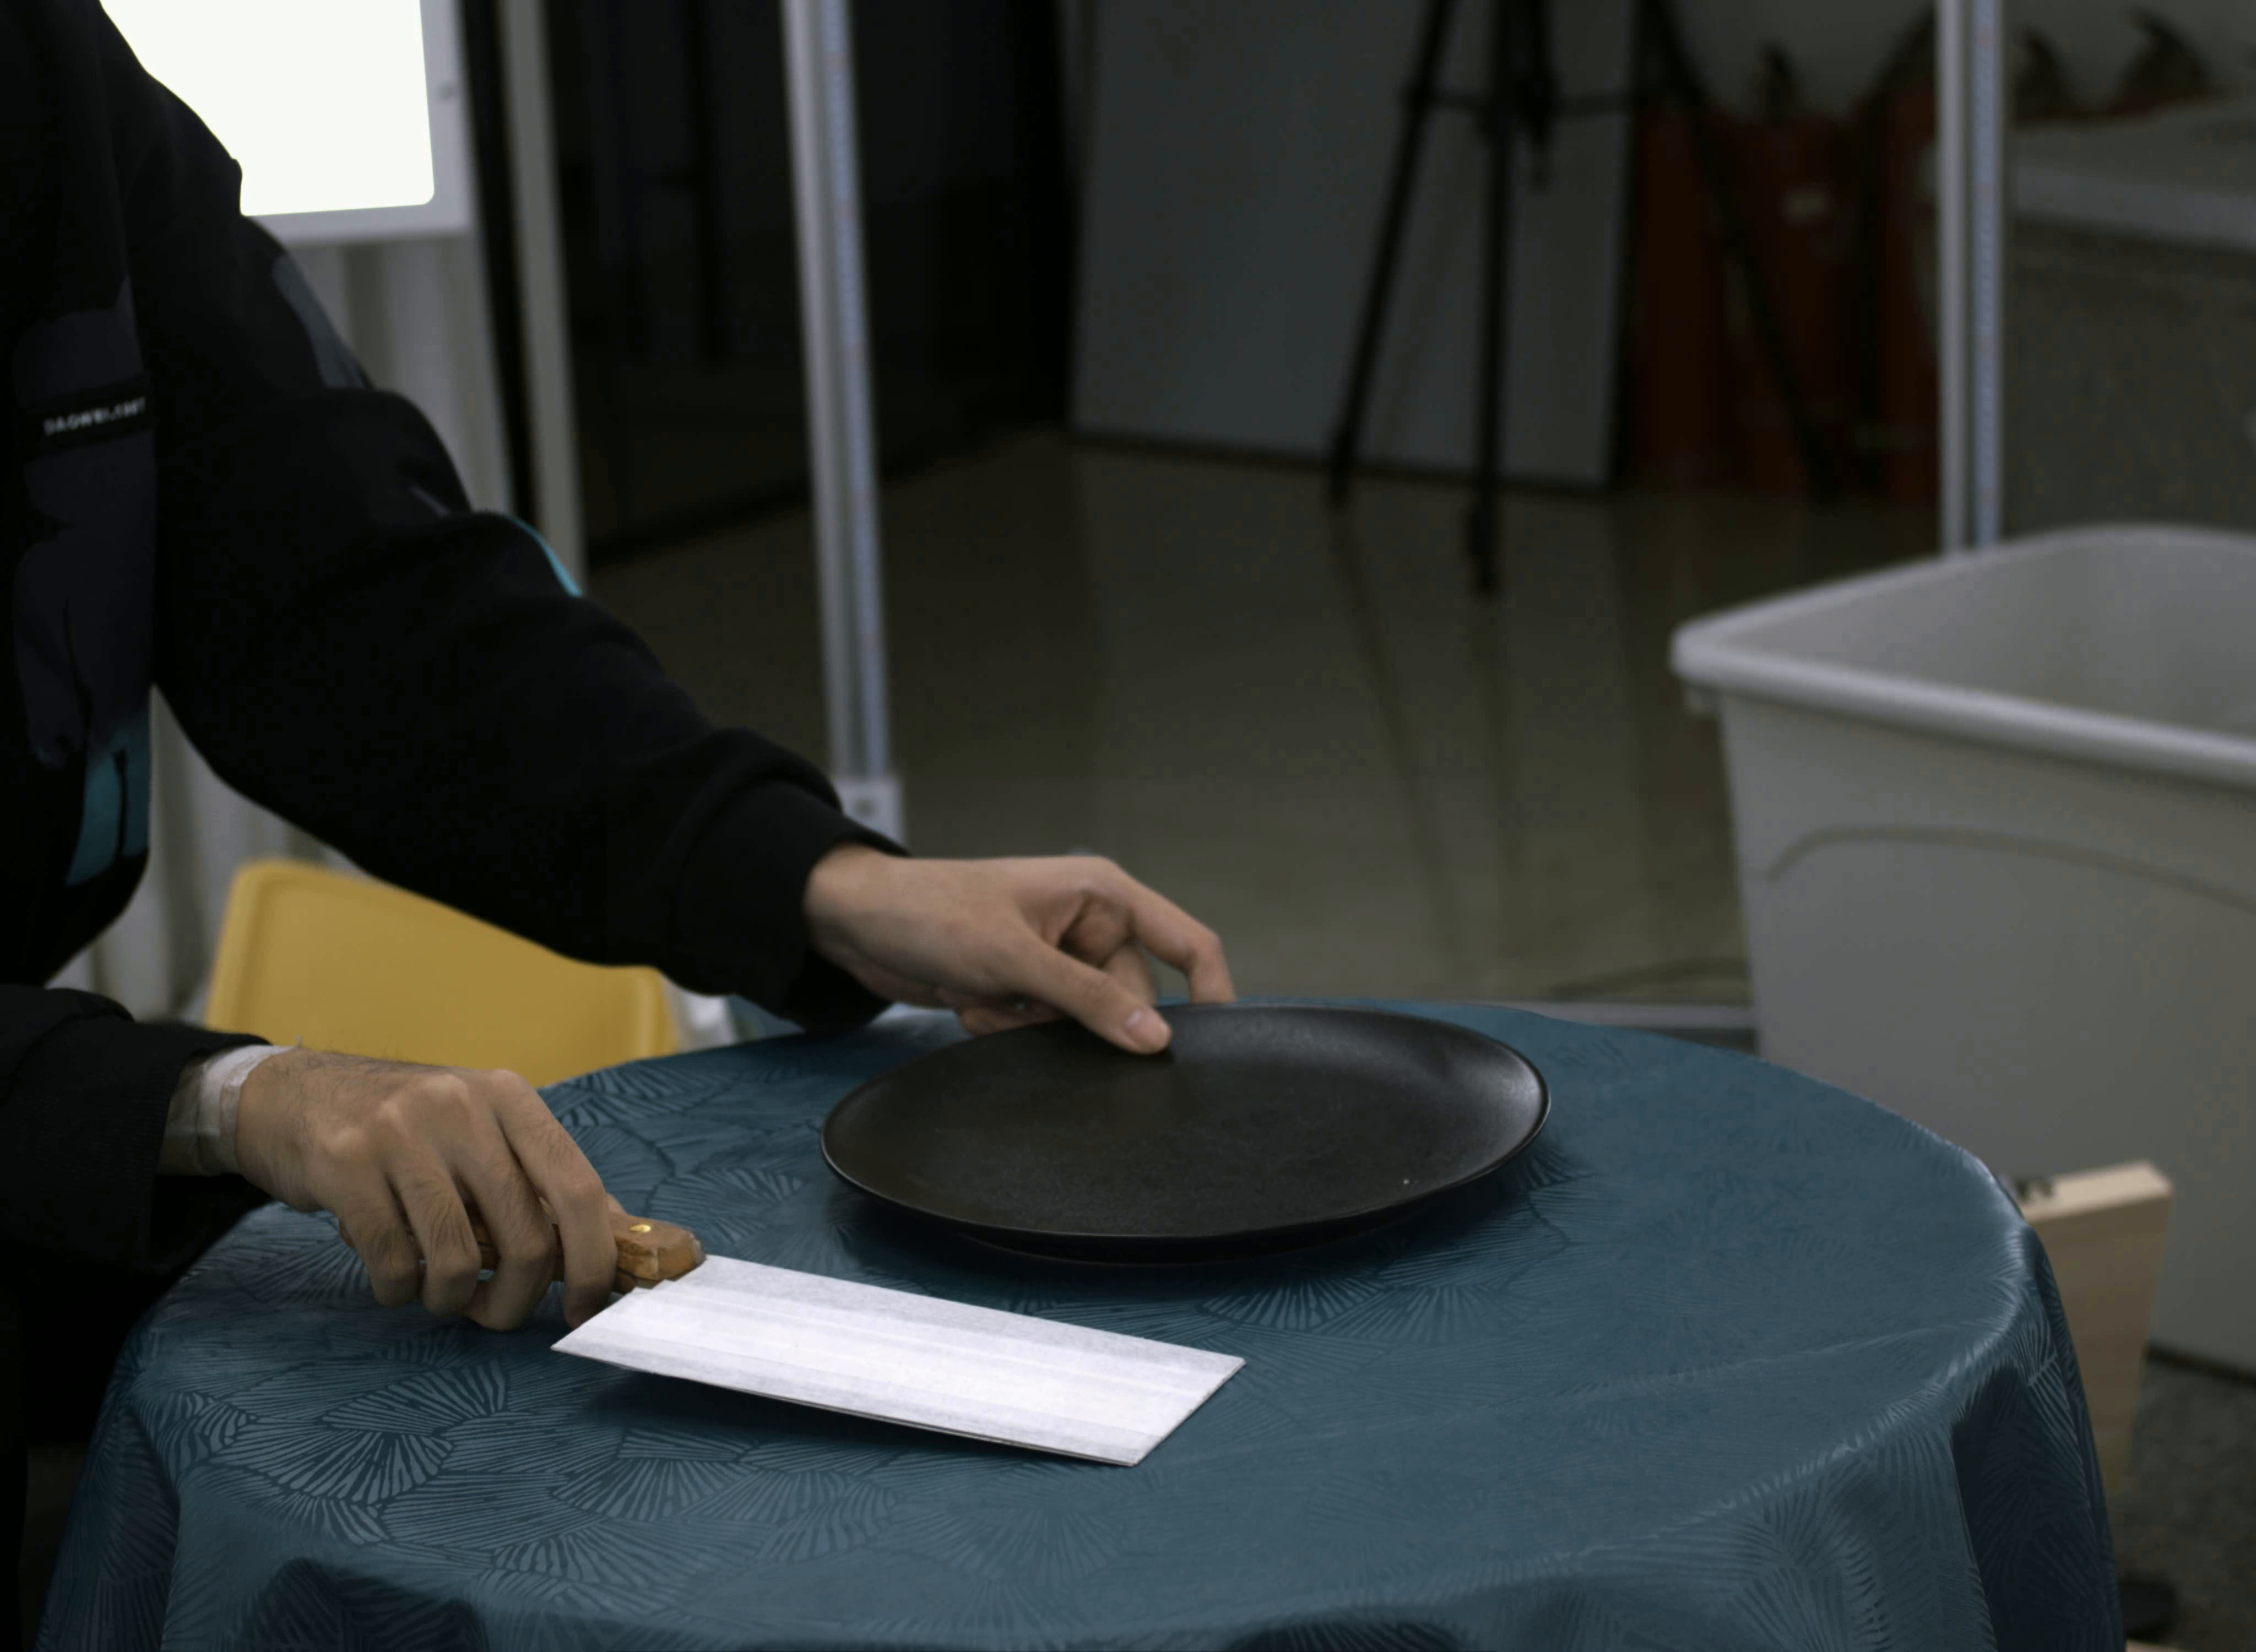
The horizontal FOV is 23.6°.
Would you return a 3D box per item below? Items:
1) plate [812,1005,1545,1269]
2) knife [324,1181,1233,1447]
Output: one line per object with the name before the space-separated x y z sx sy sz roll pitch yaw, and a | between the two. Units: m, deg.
plate | 0.018 0.105 1.776 0.241 0.024 0.245 -4 15 0
knife | -0.119 0.149 1.624 0.306 0.021 0.092 8 18 23
